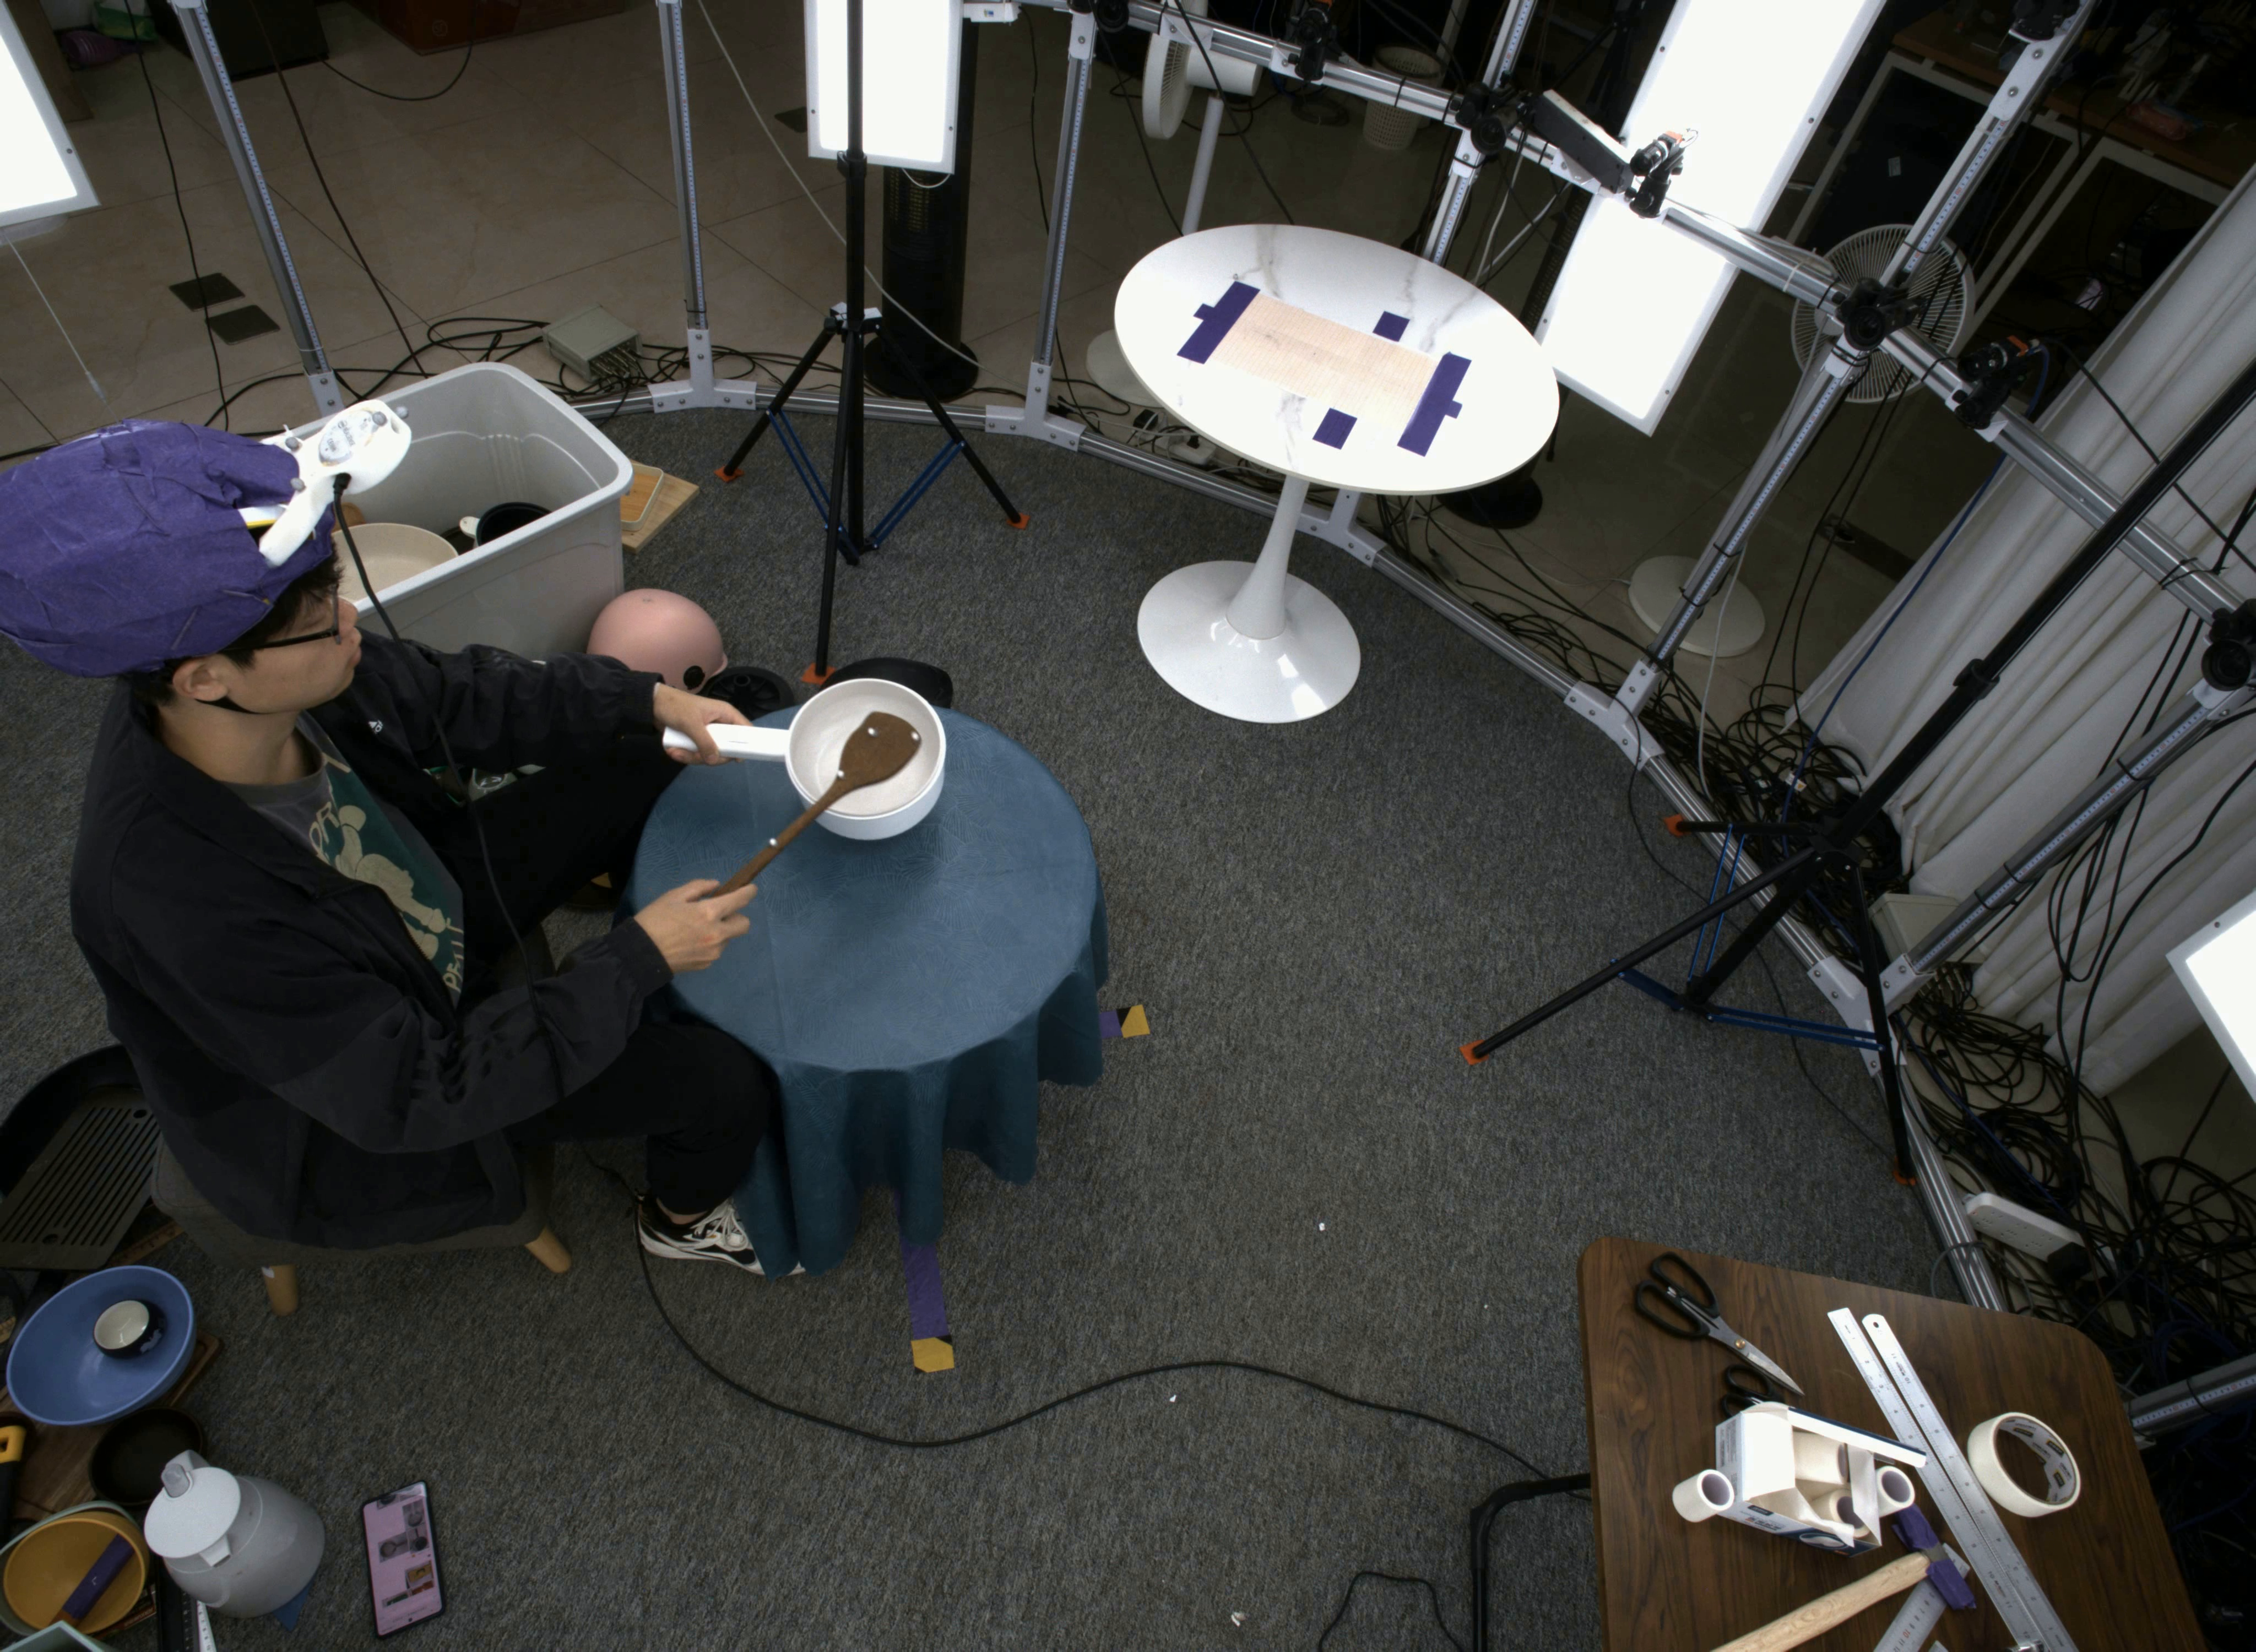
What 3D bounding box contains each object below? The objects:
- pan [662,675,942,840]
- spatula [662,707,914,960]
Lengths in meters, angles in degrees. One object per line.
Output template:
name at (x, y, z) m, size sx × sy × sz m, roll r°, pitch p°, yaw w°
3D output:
pan at (-0.415, -0.088, 1.674) m, size 0.352 × 0.103 × 0.200 m, roll 4°, pitch 68°, yaw -4°
spatula at (-0.390, 0.005, 1.473) m, size 0.093 × 0.016 × 0.386 m, roll 29°, pitch 66°, yaw 30°
